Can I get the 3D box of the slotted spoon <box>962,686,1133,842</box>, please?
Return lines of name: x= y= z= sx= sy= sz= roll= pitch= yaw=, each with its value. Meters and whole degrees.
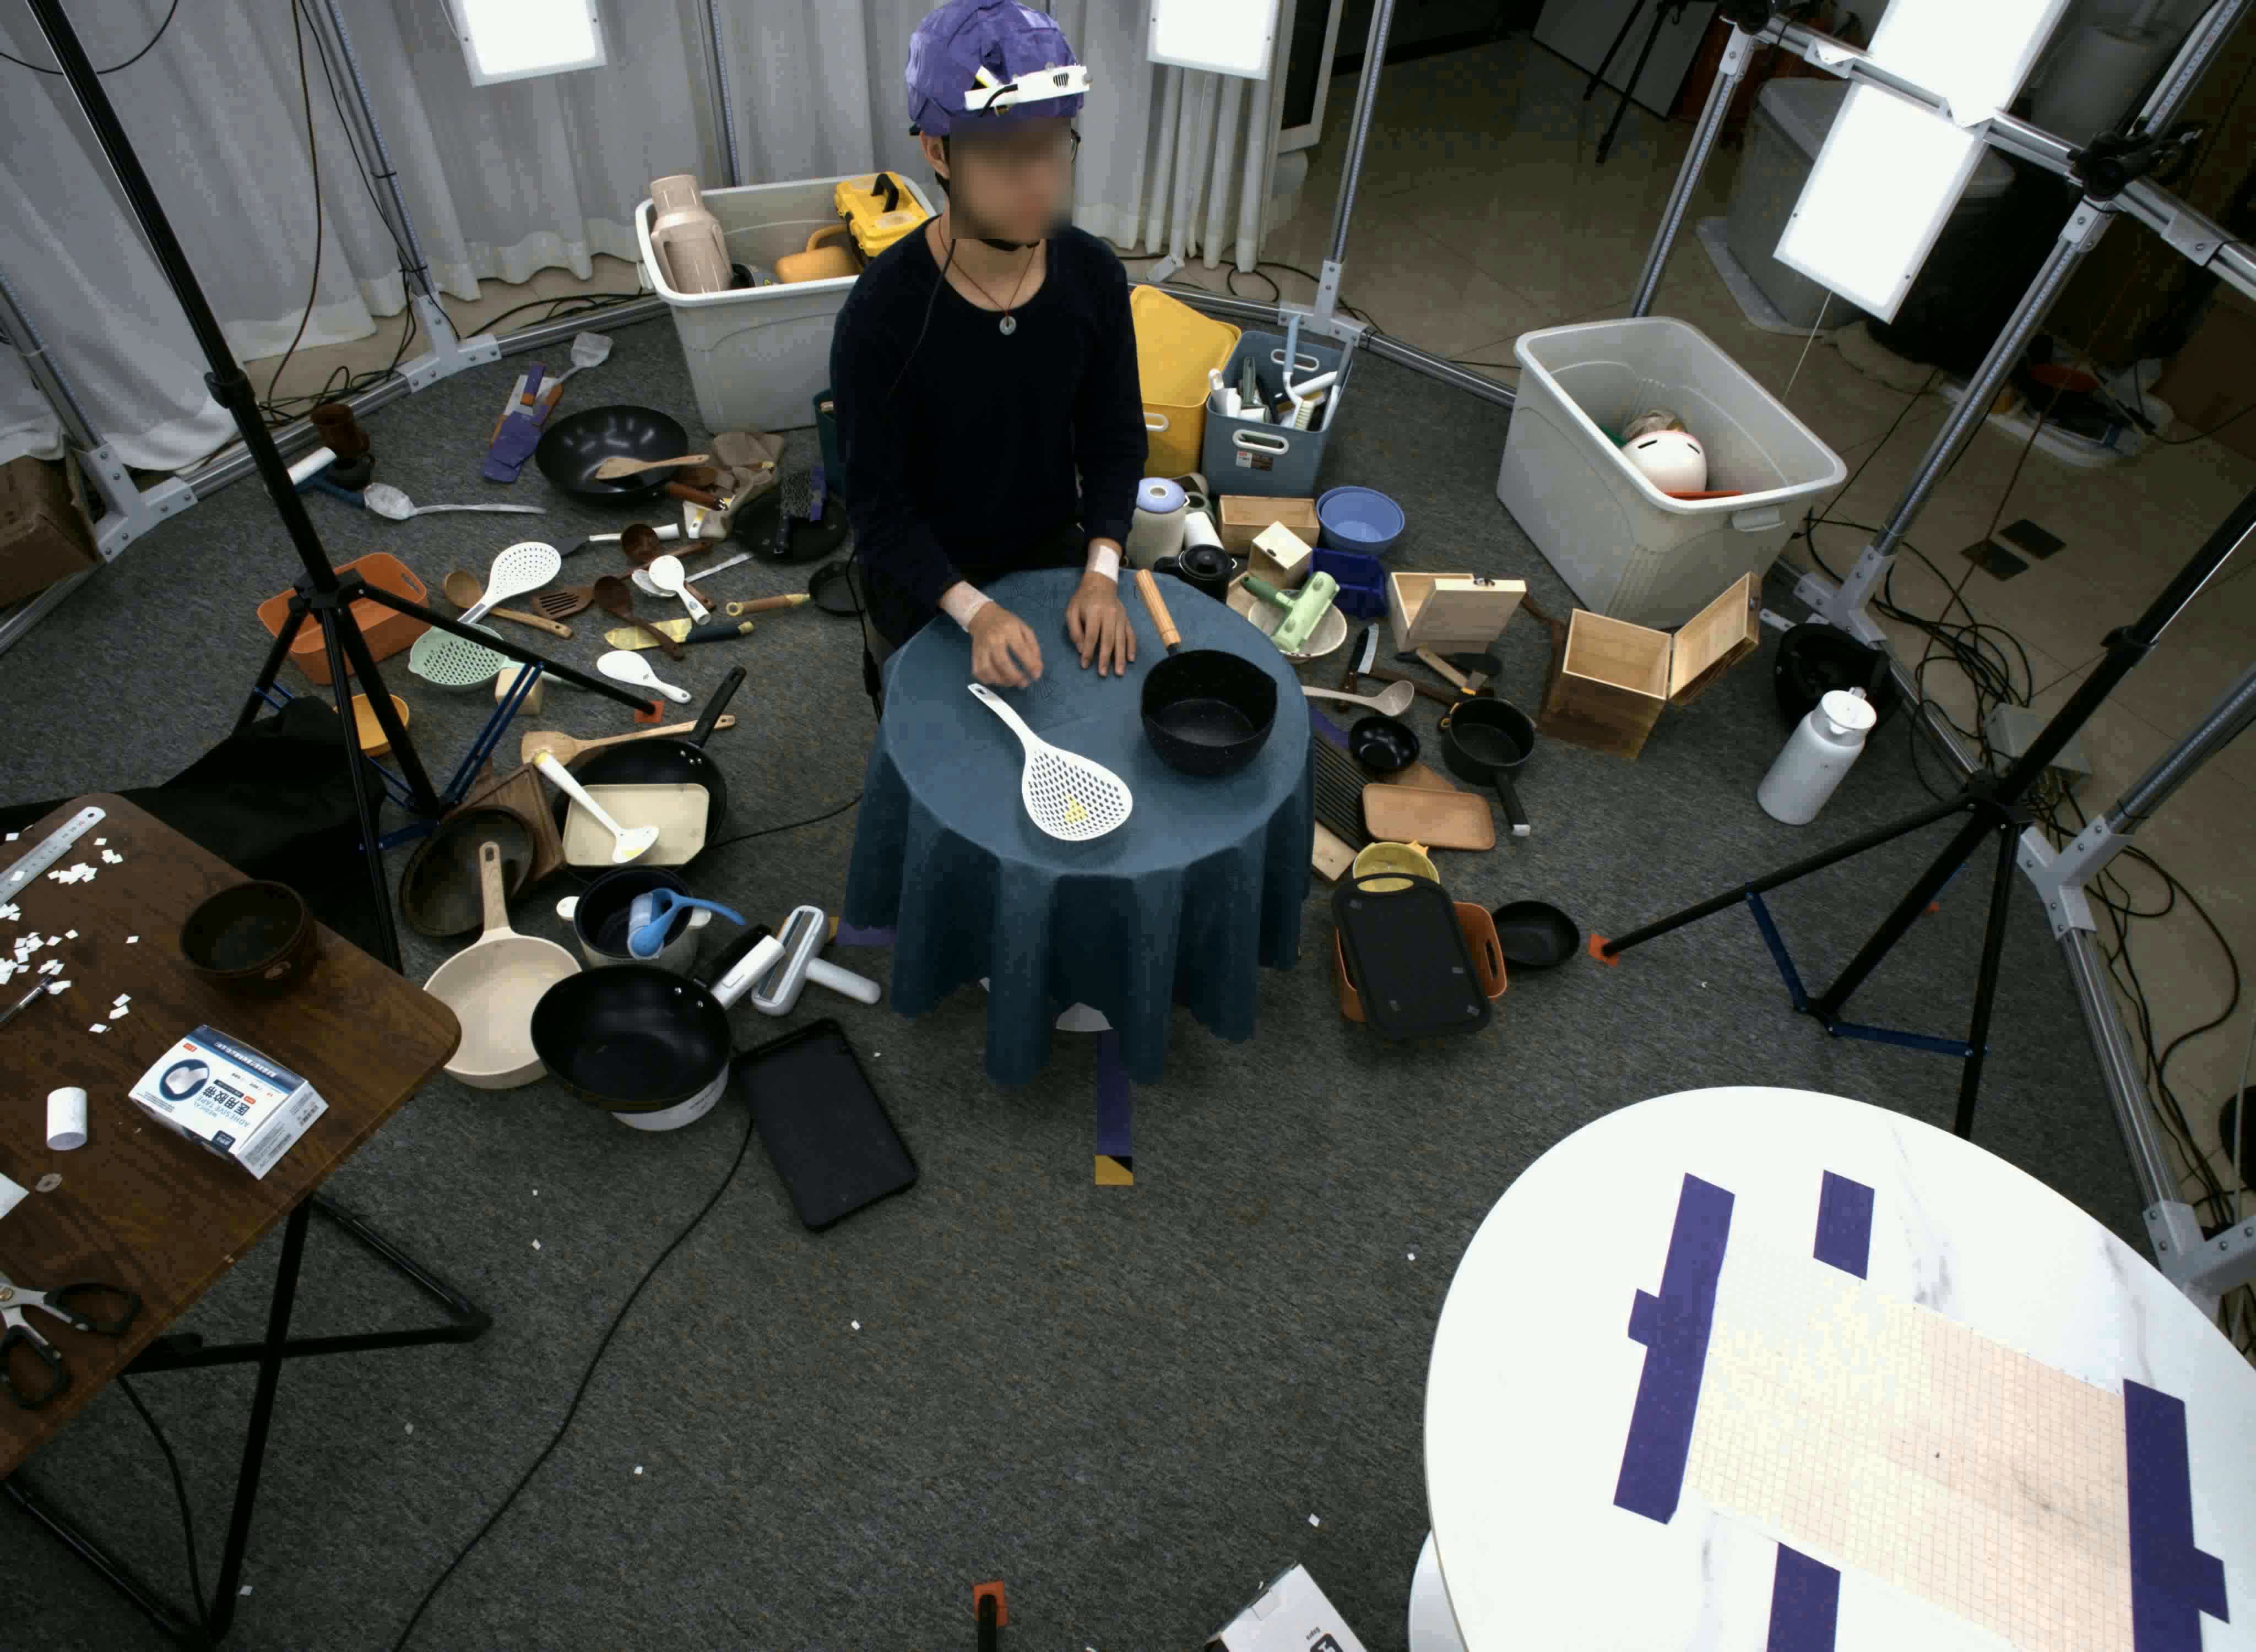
slotted spoon: x=-0.125 y=-0.096 z=1.715 sx=0.137 sy=0.049 sz=0.355 roll=-26 pitch=57 yaw=-22

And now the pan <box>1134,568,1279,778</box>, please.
pan: x=0.077 y=-0.214 z=1.790 sx=0.207 sy=0.105 sz=0.351 roll=-16 pitch=53 yaw=-16
